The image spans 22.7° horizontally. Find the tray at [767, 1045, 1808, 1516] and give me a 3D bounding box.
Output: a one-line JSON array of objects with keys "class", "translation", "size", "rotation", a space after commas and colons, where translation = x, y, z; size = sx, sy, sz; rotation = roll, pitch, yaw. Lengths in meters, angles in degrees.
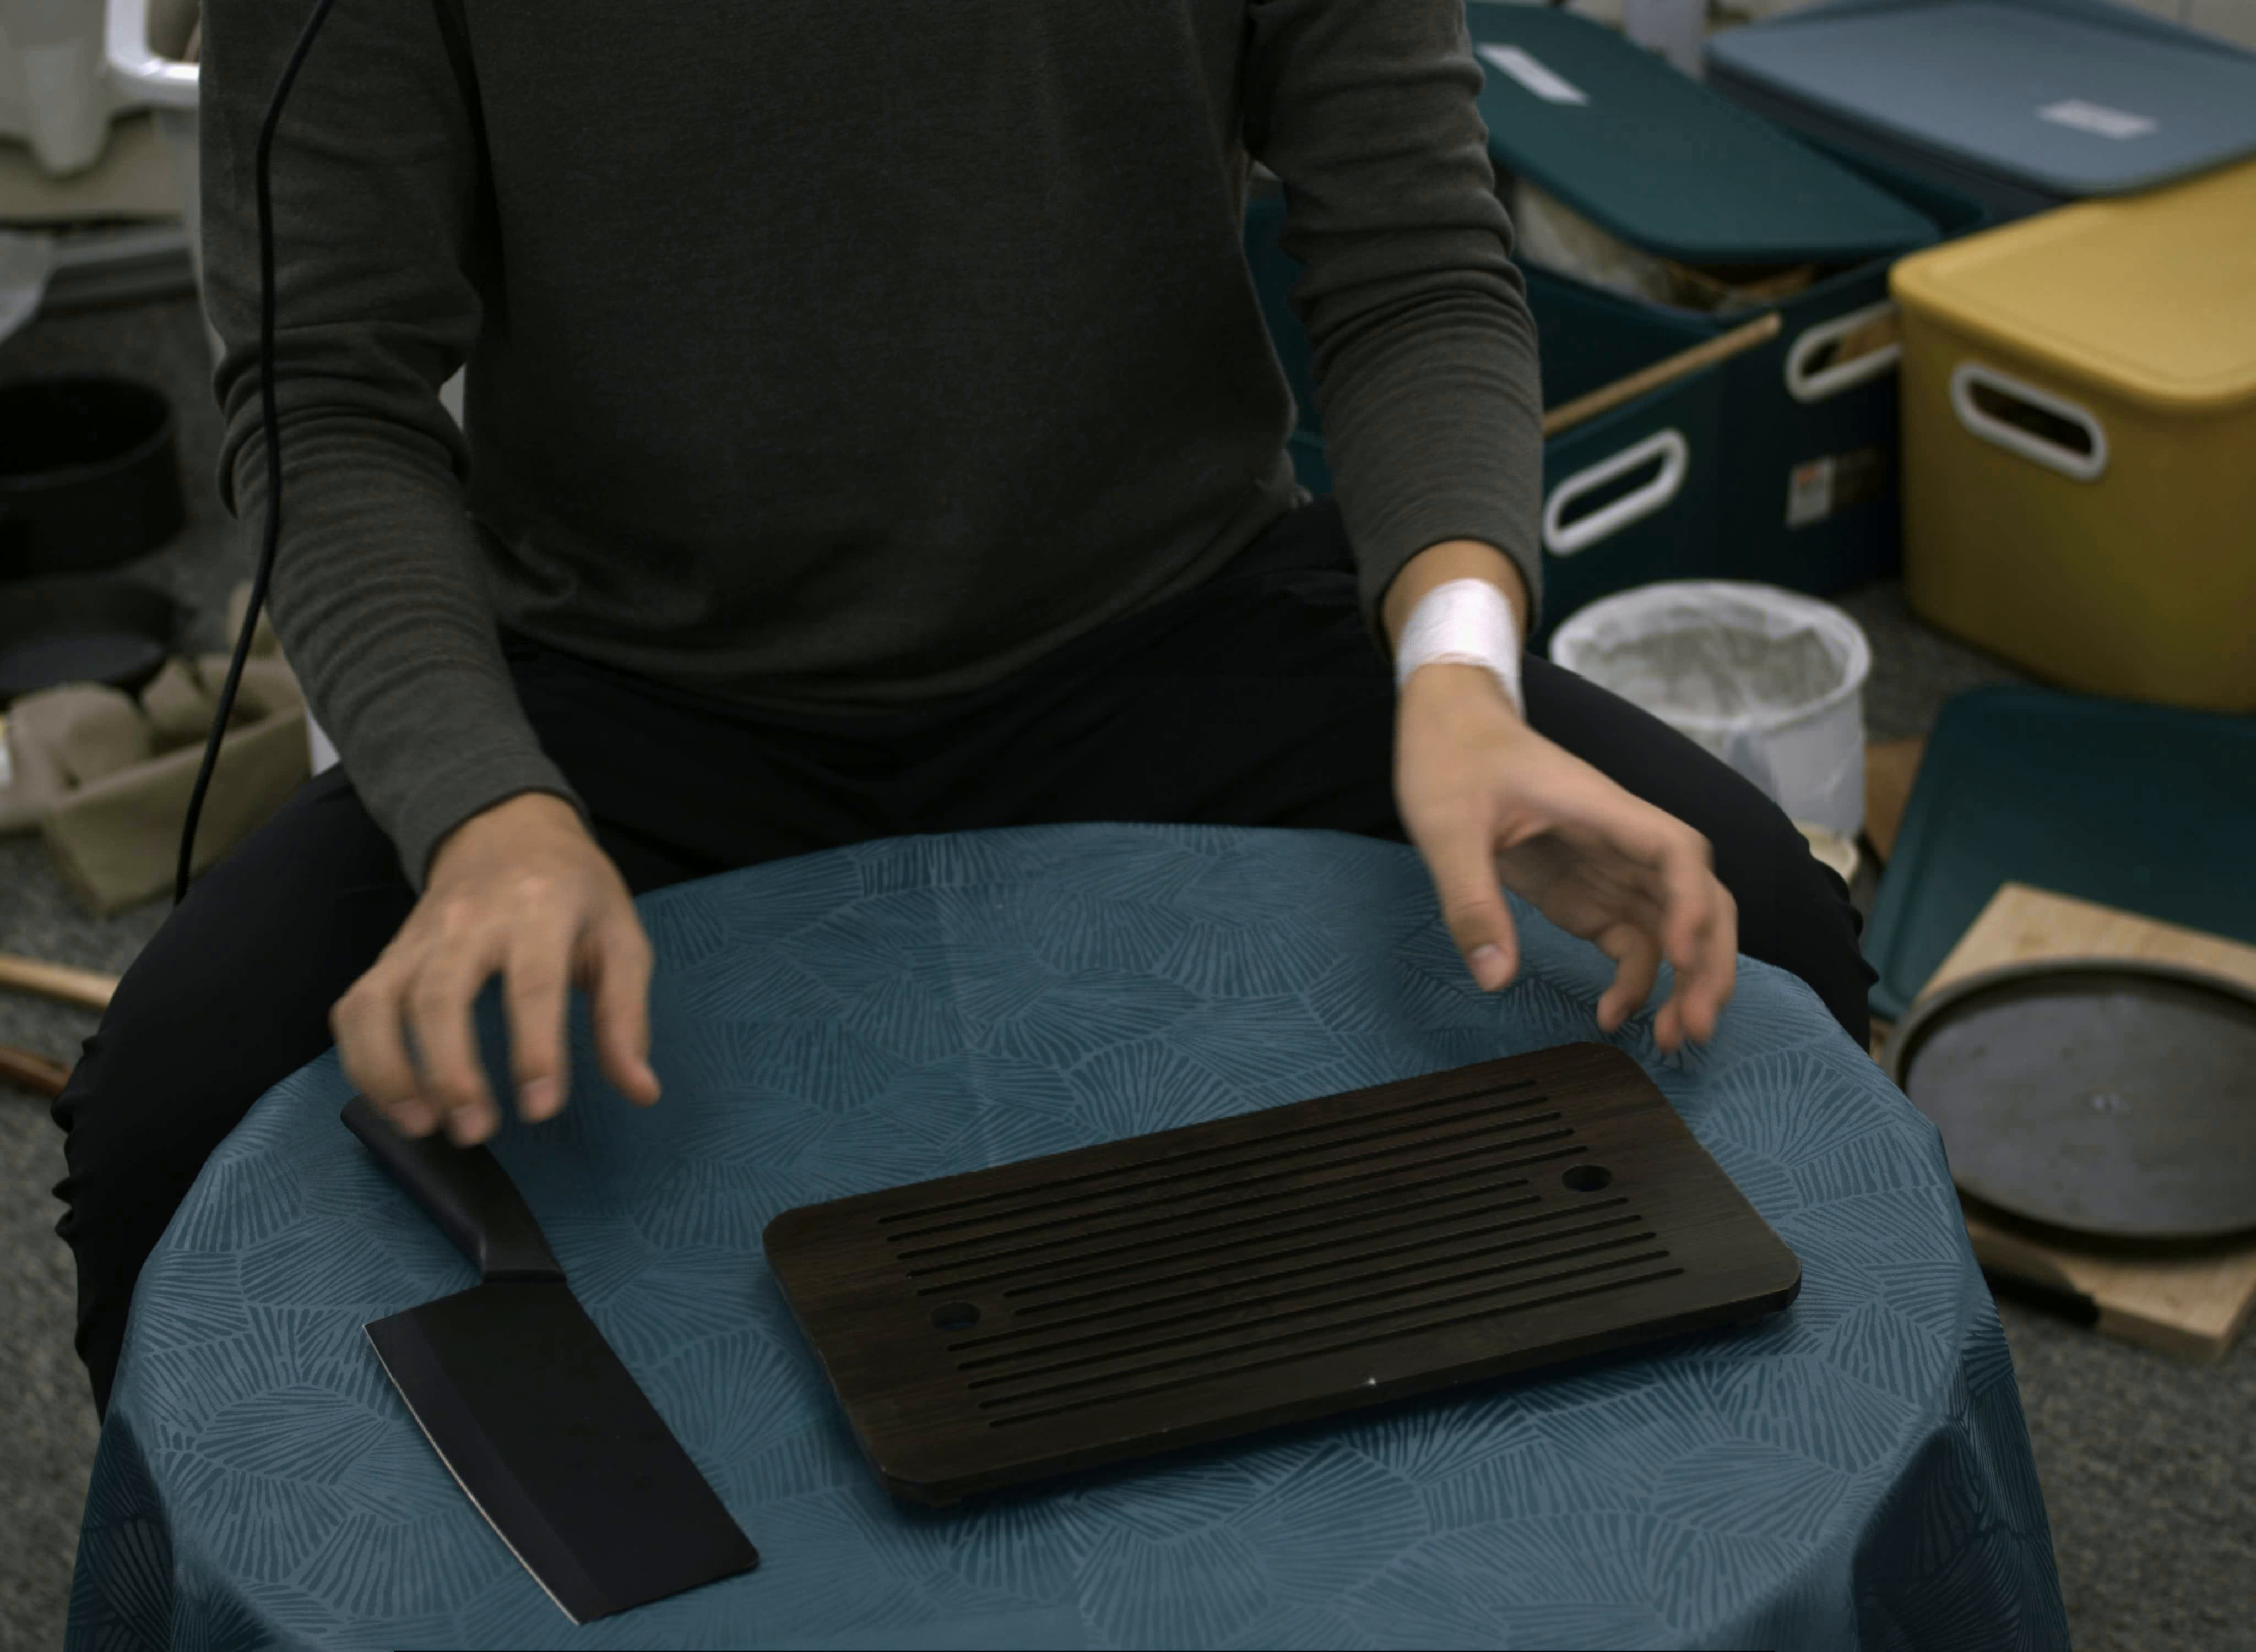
[{"class": "tray", "translation": [0.049, 0.144, 1.795], "size": [0.306, 0.018, 0.171], "rotation": [-11, 28, -15]}]

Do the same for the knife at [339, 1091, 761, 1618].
[{"class": "knife", "translation": [-0.199, 0.164, 1.784], "size": [0.081, 0.020, 0.305], "rotation": [-13, 31, -17]}]
